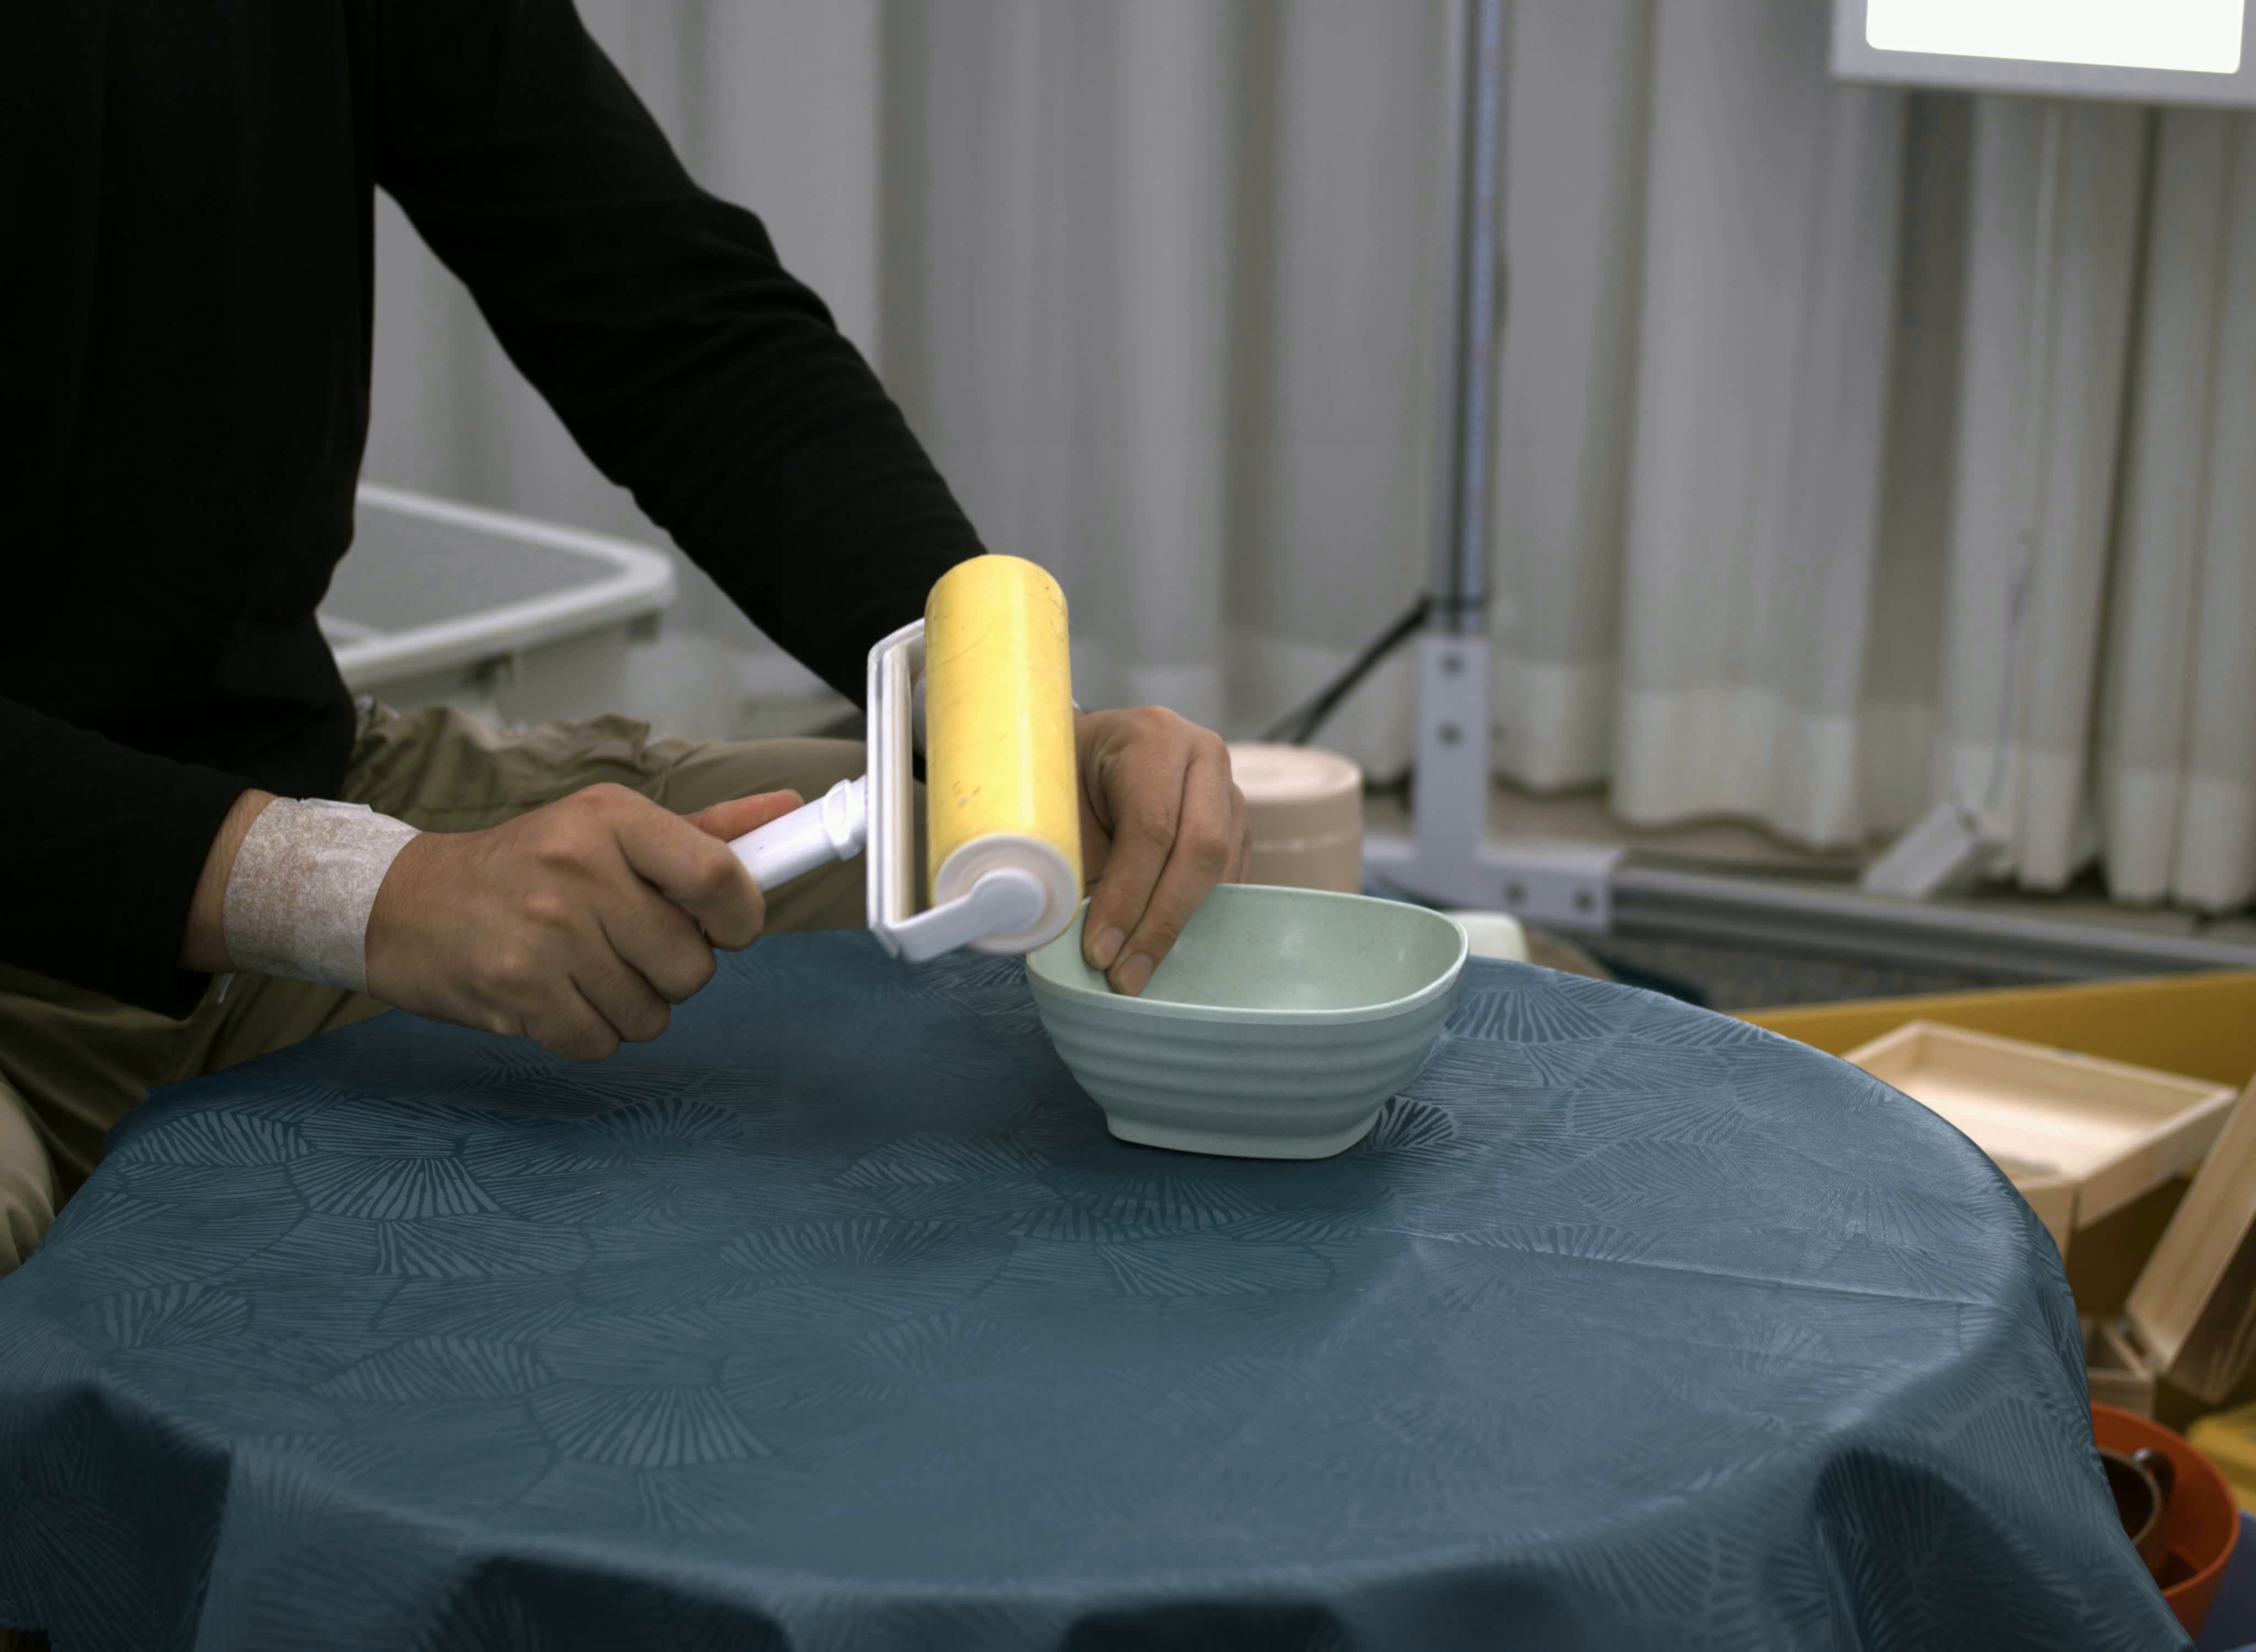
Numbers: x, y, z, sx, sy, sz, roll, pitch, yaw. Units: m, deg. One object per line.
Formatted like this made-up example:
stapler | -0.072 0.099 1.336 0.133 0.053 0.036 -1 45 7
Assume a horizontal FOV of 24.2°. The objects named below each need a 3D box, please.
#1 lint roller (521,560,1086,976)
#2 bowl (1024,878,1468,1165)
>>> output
lint roller | -0.107 -0.001 1.661 0.191 0.052 0.172 -15 34 7
bowl | 0.037 0.065 1.682 0.151 0.059 0.150 3 16 0
